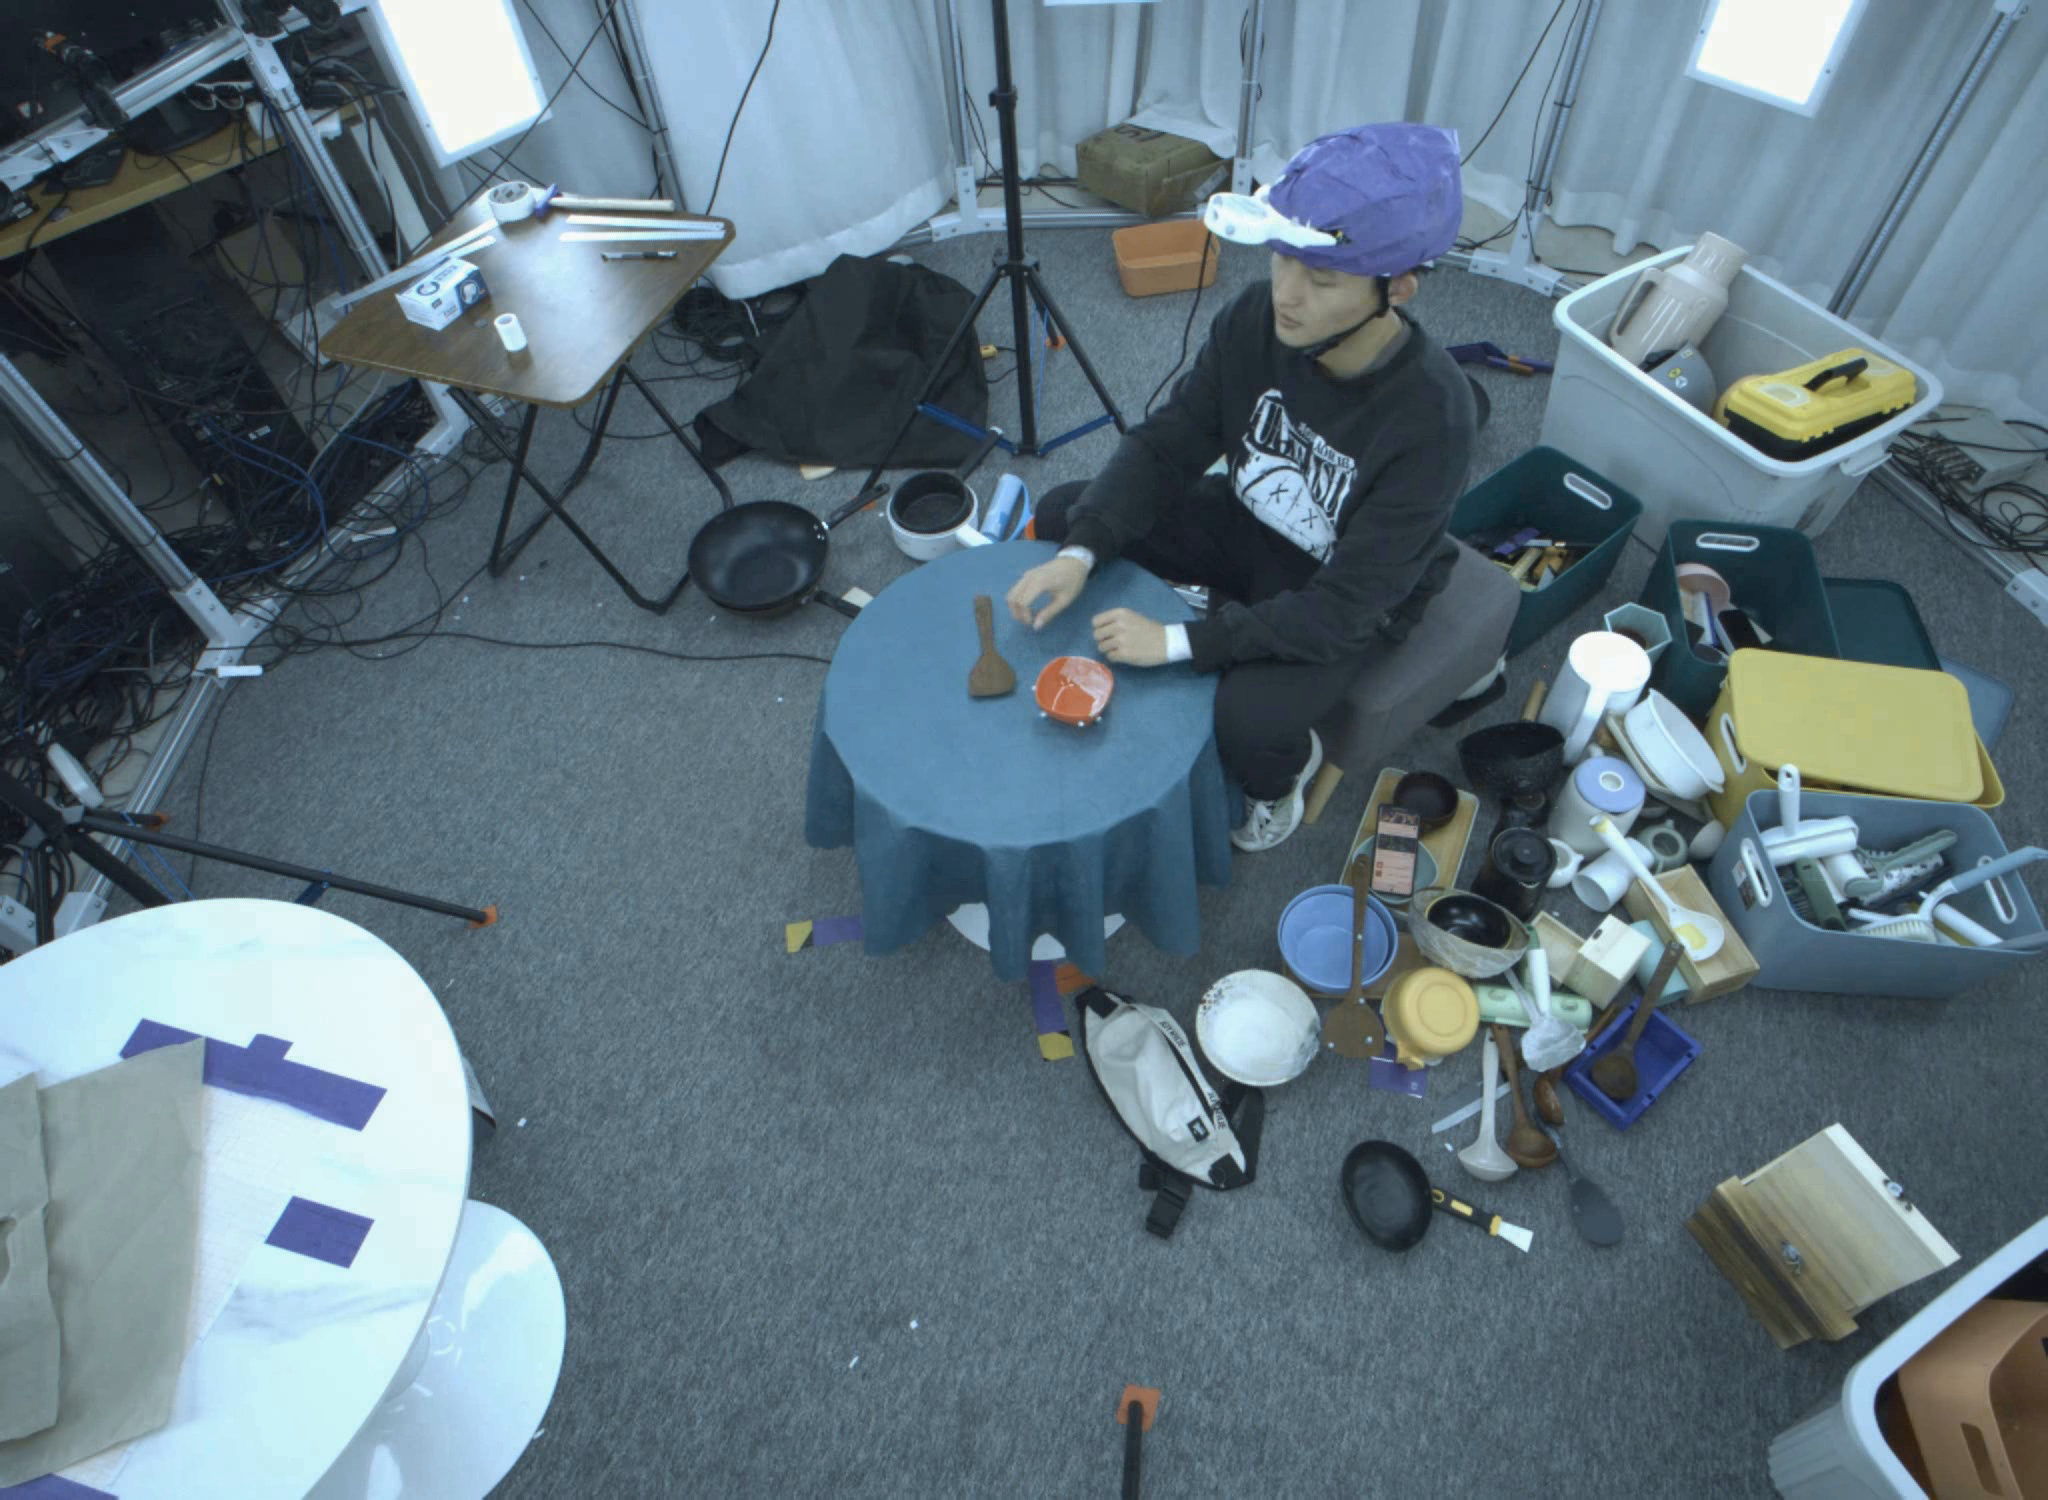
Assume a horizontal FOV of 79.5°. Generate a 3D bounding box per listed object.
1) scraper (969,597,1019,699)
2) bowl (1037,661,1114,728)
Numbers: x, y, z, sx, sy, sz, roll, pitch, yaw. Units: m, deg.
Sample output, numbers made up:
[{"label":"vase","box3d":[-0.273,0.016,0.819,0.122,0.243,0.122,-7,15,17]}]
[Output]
[{"label":"scraper","box3d":[-0.055,-0.161,1.907,0.076,0.011,0.208,-6,54,-3]},{"label":"bowl","box3d":[0.079,-0.075,1.822,0.118,0.052,0.117,-2,52,4]}]
